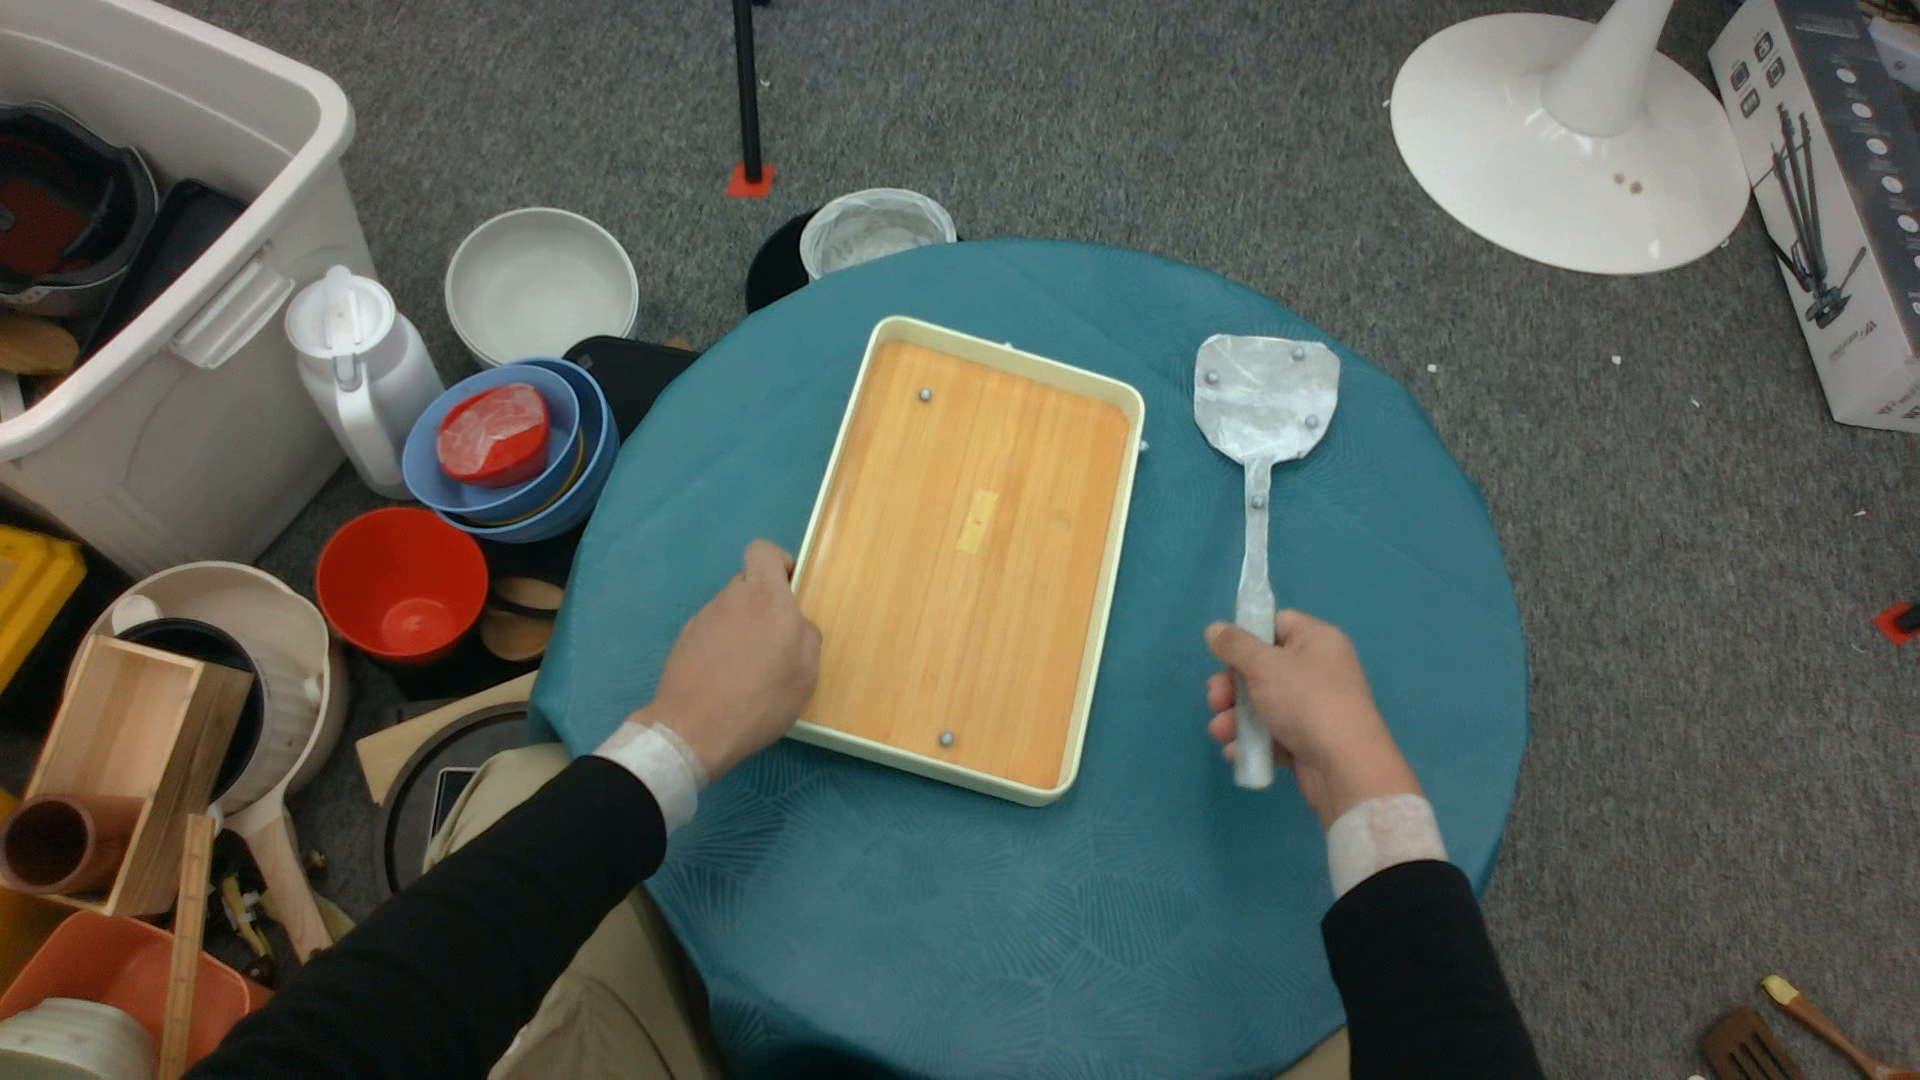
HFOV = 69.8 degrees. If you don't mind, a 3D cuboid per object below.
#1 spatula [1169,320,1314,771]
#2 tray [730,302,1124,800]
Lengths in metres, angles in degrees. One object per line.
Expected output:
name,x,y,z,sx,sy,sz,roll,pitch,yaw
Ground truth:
spatula,0.167,-0.014,0.849,0.098,0.044,0.367,7,44,7
tray,-0.012,-0.003,0.853,0.191,0.027,0.301,17,60,-5
